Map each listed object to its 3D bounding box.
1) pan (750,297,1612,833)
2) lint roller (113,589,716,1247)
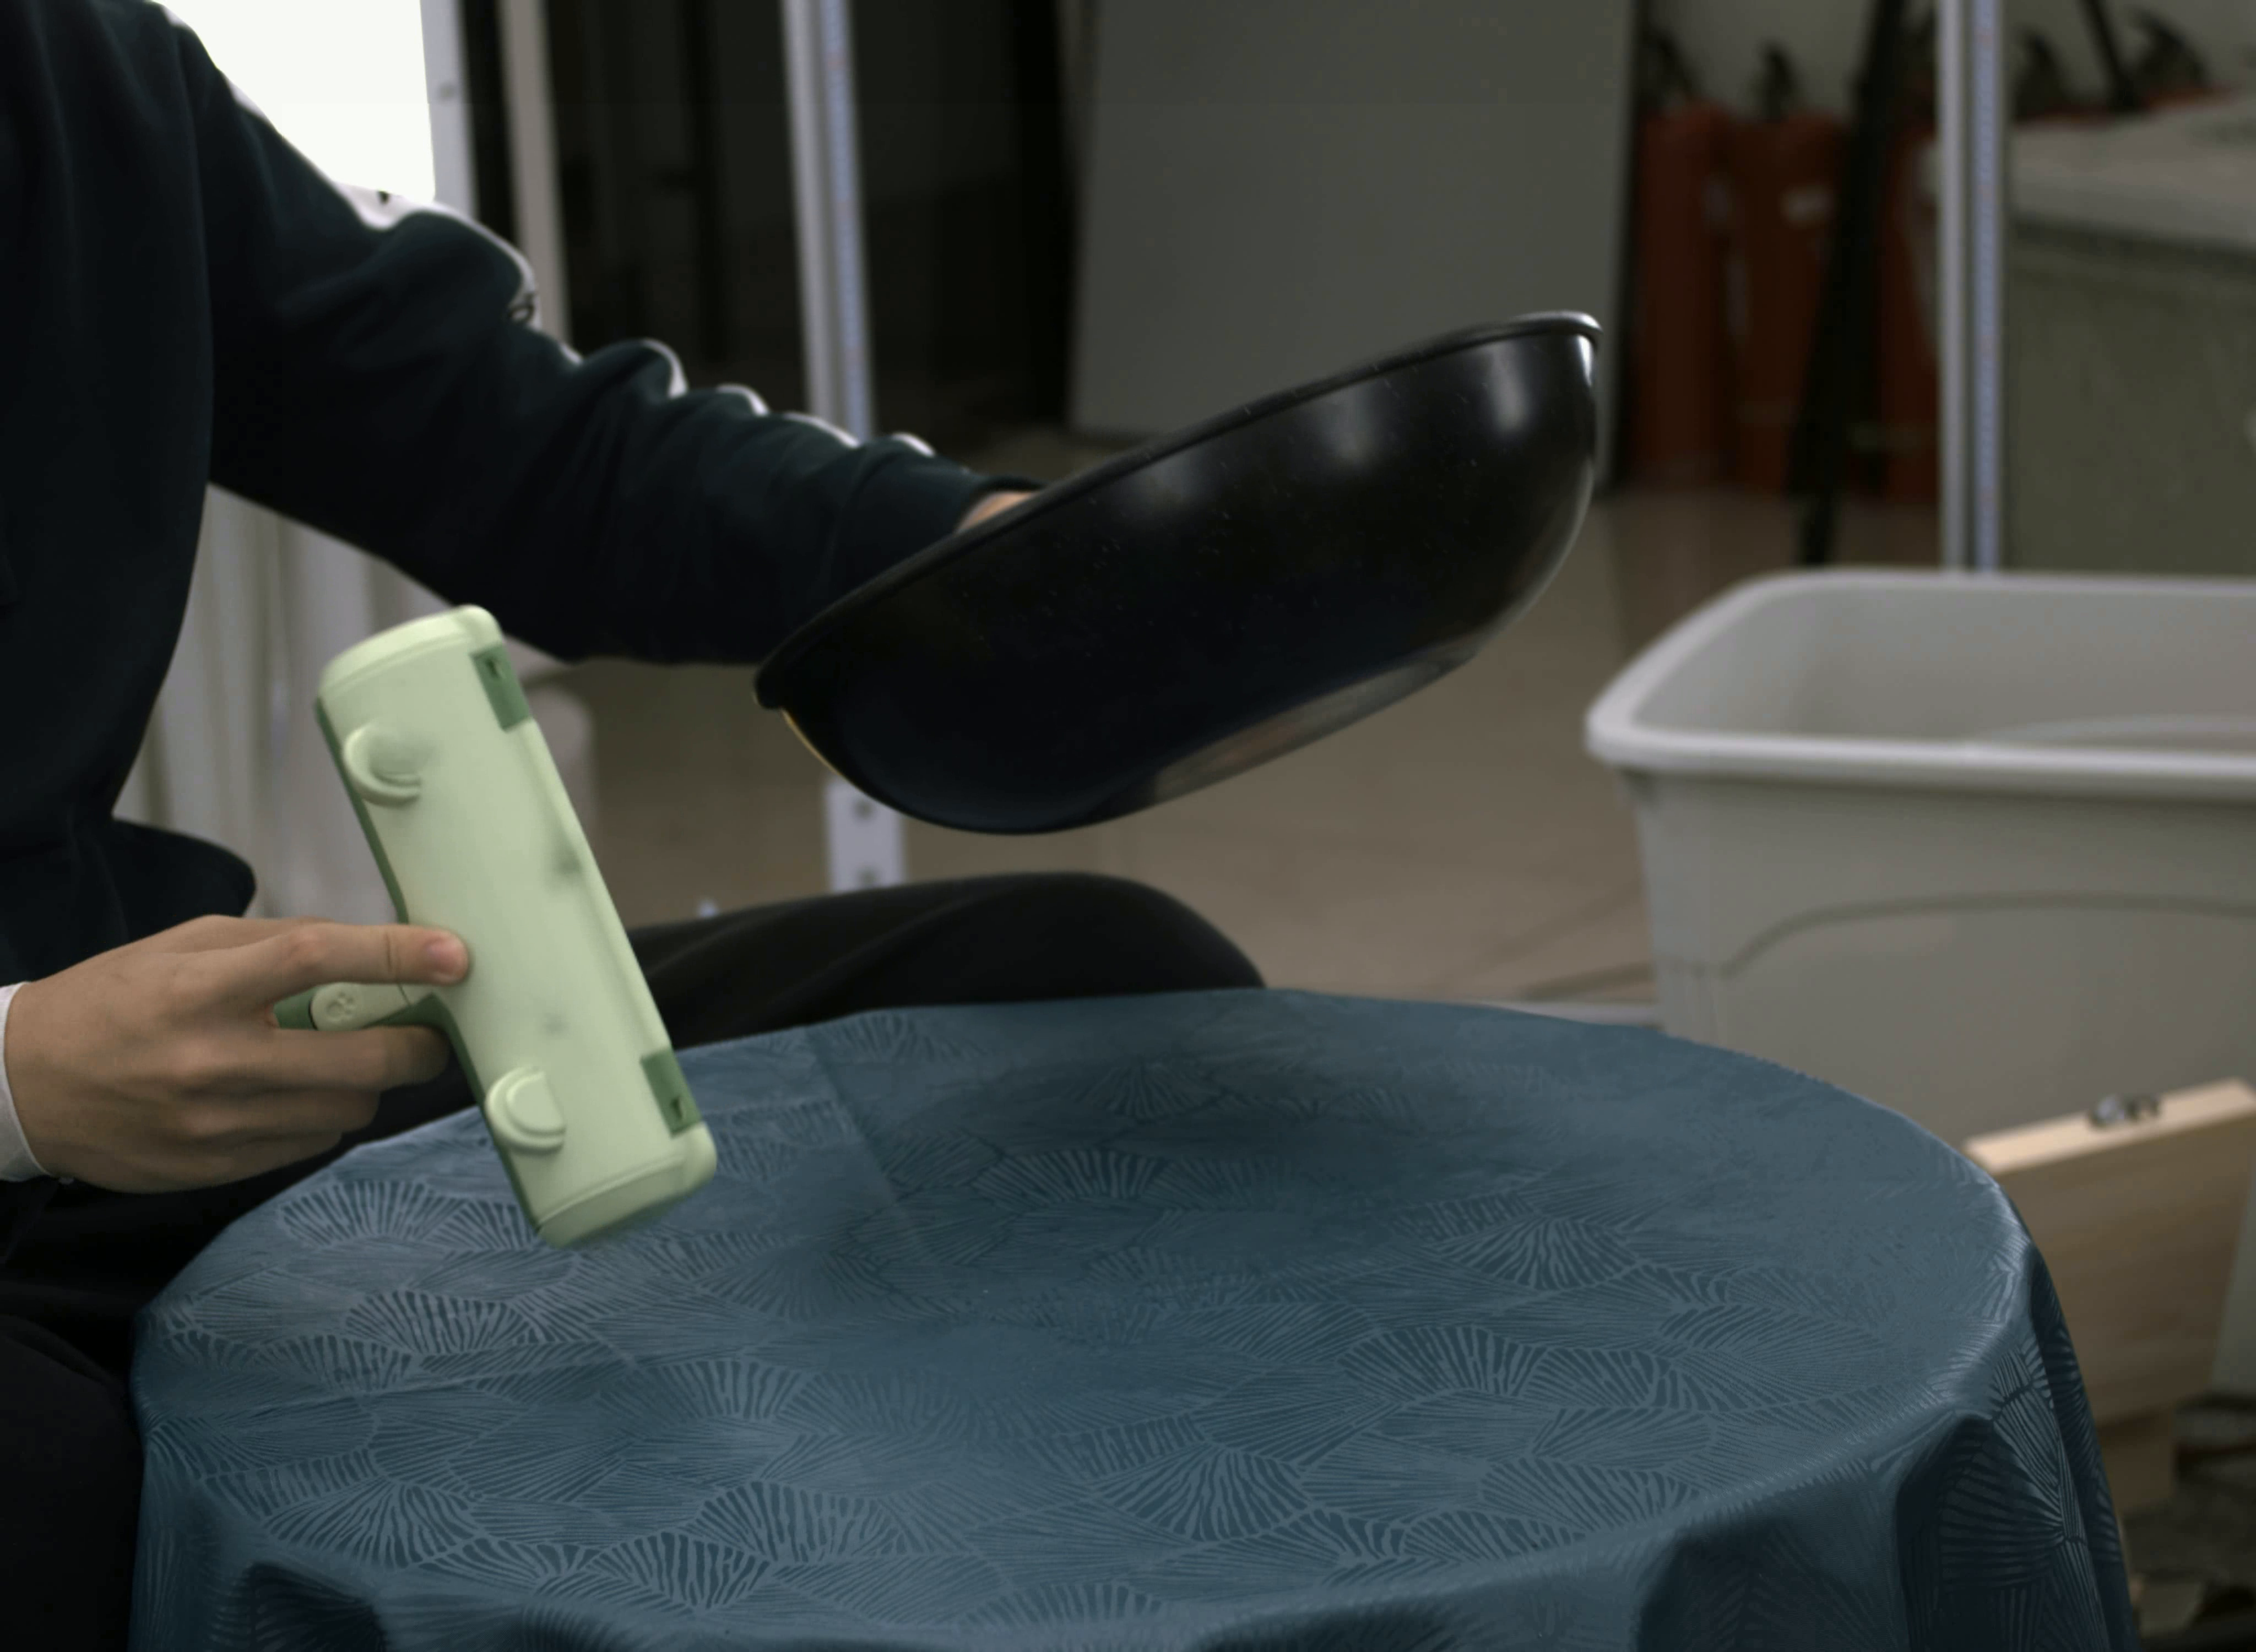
[{"bbox_3d":[0.026,-0.070,1.868,0.307,0.113,0.477,-22,-6,-3],"label":"pan"},{"bbox_3d":[-0.240,0.053,1.649,0.182,0.201,0.081,-26,-9,9],"label":"lint roller"}]
